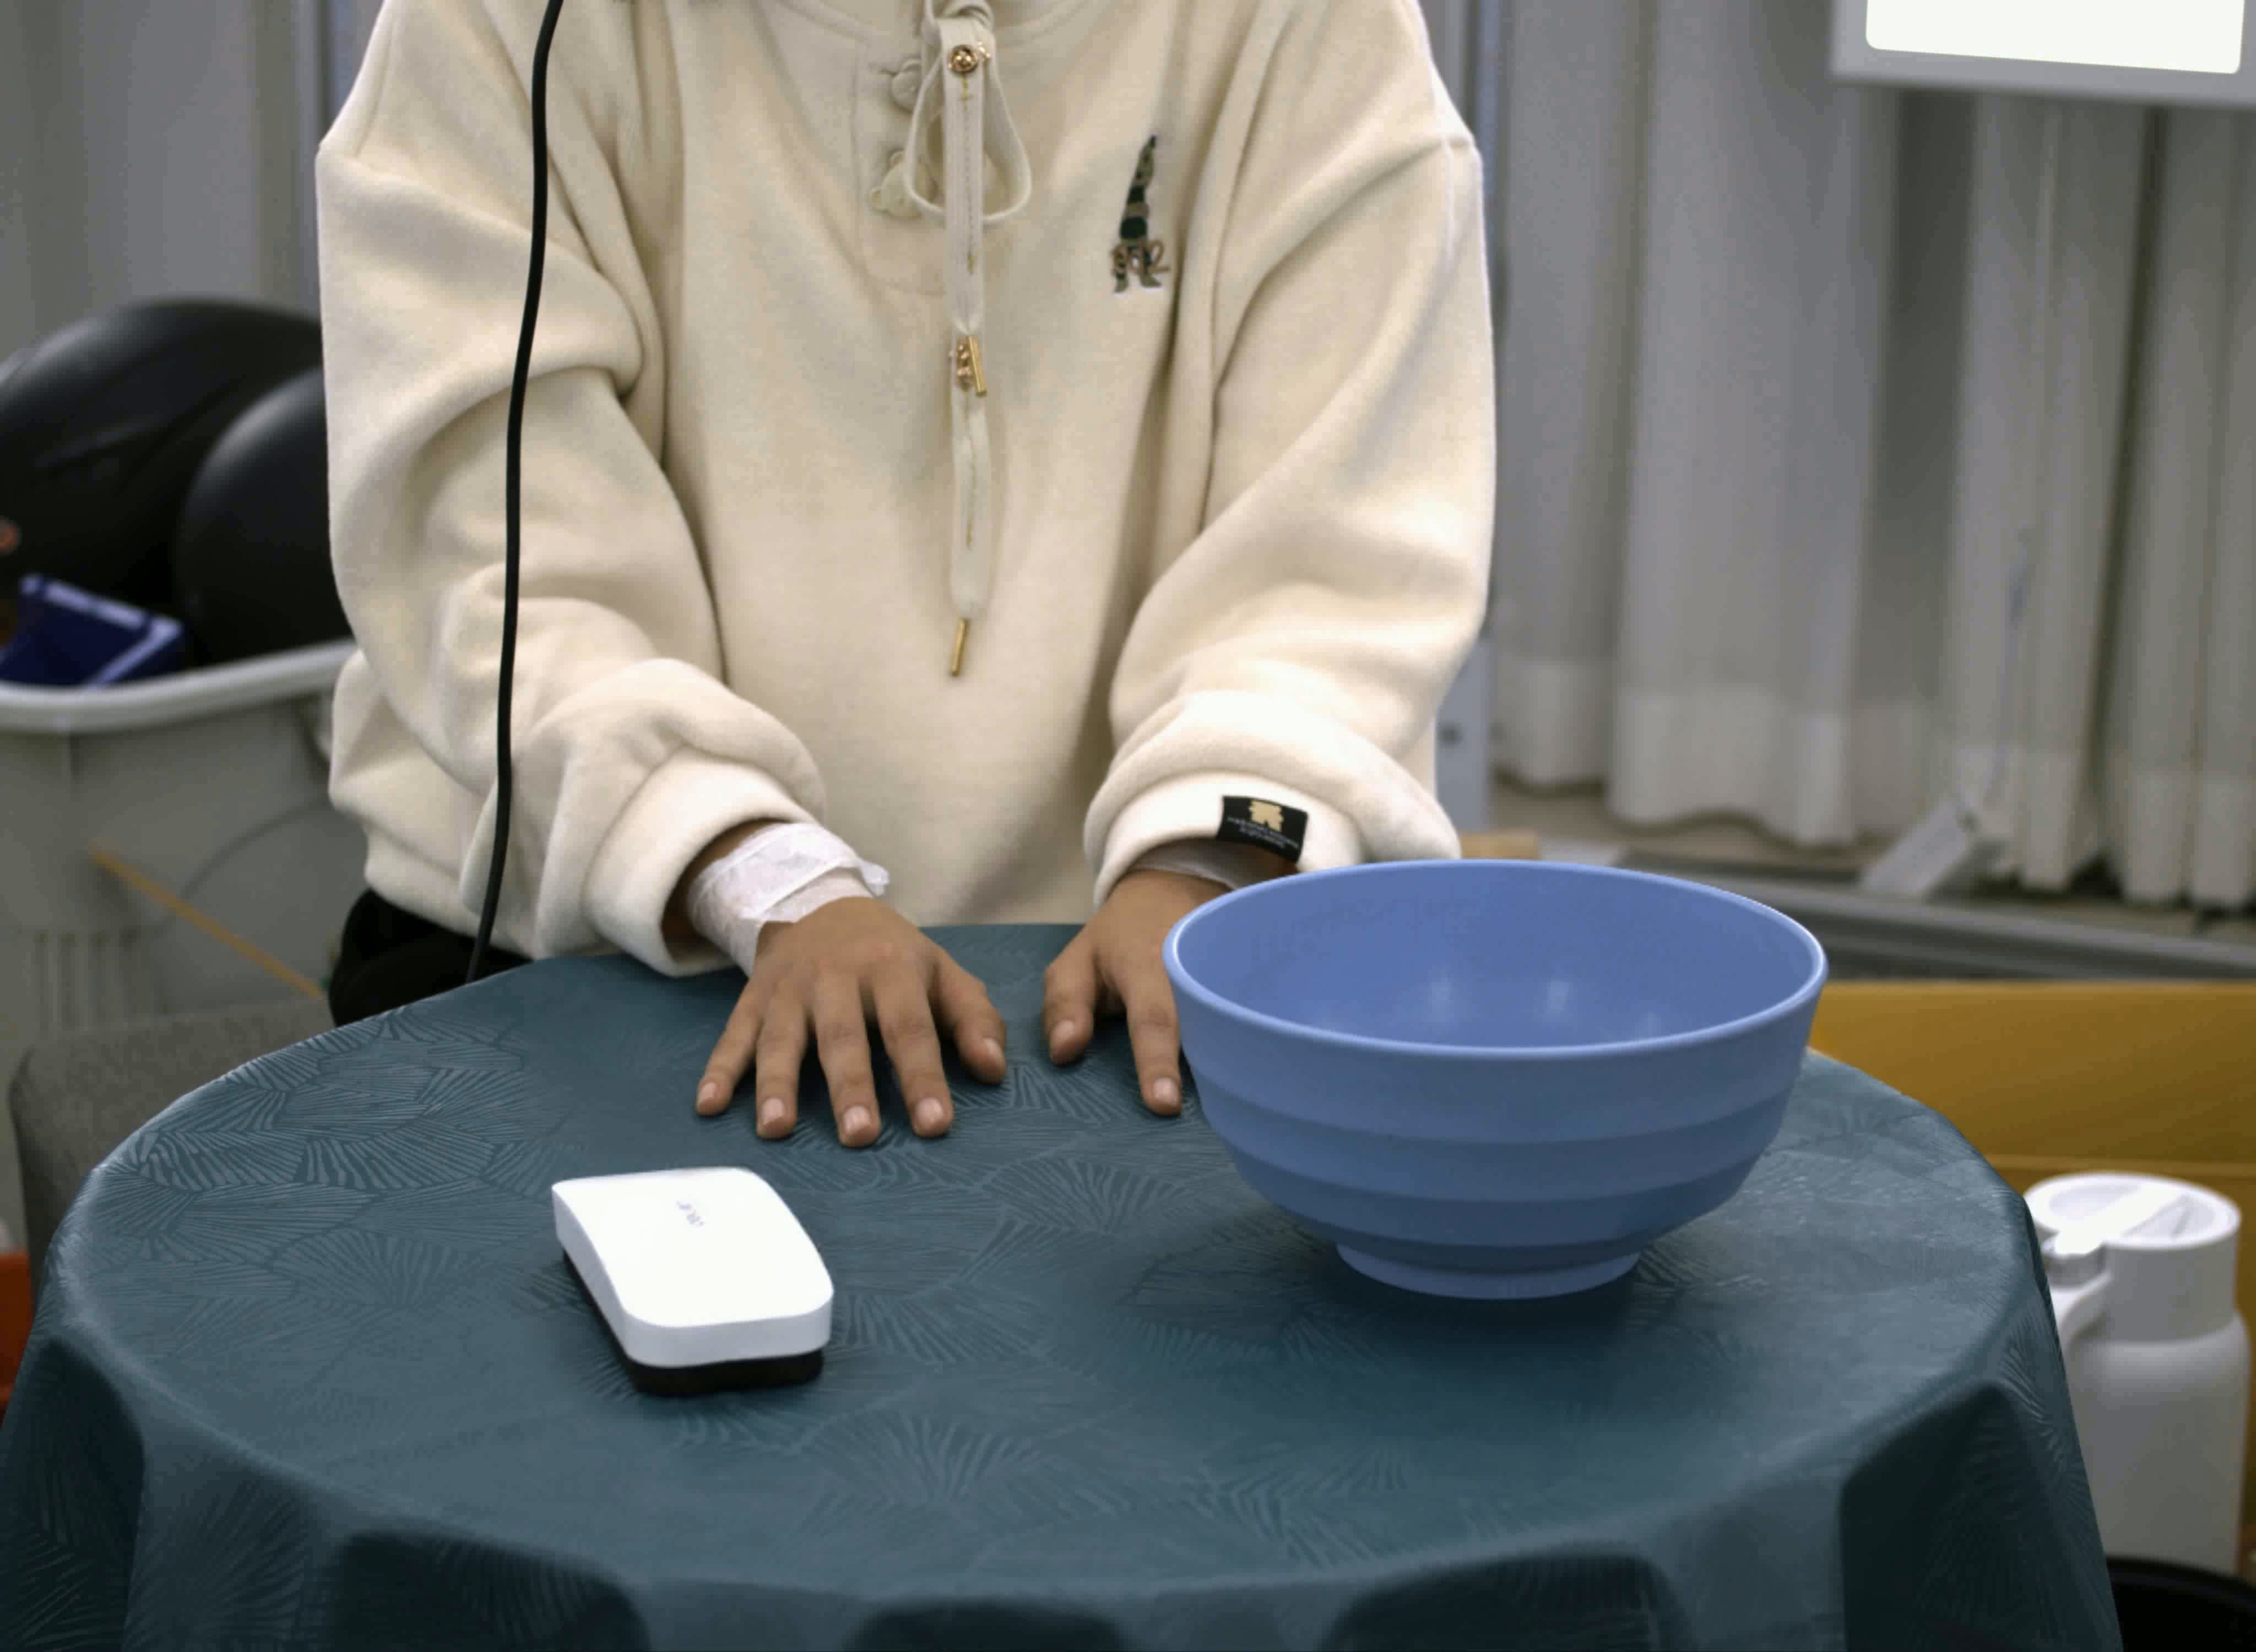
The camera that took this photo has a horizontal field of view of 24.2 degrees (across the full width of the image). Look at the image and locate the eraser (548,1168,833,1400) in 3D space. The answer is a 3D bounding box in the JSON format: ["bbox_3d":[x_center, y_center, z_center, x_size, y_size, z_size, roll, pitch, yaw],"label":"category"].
[{"bbox_3d":[-0.125,0.126,1.509,0.063,0.035,0.130,-3,17,-17],"label":"eraser"}]

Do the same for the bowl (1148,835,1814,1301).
[{"bbox_3d":[0.105,0.079,1.569,0.196,0.096,0.195,-1,21,1],"label":"bowl"}]
